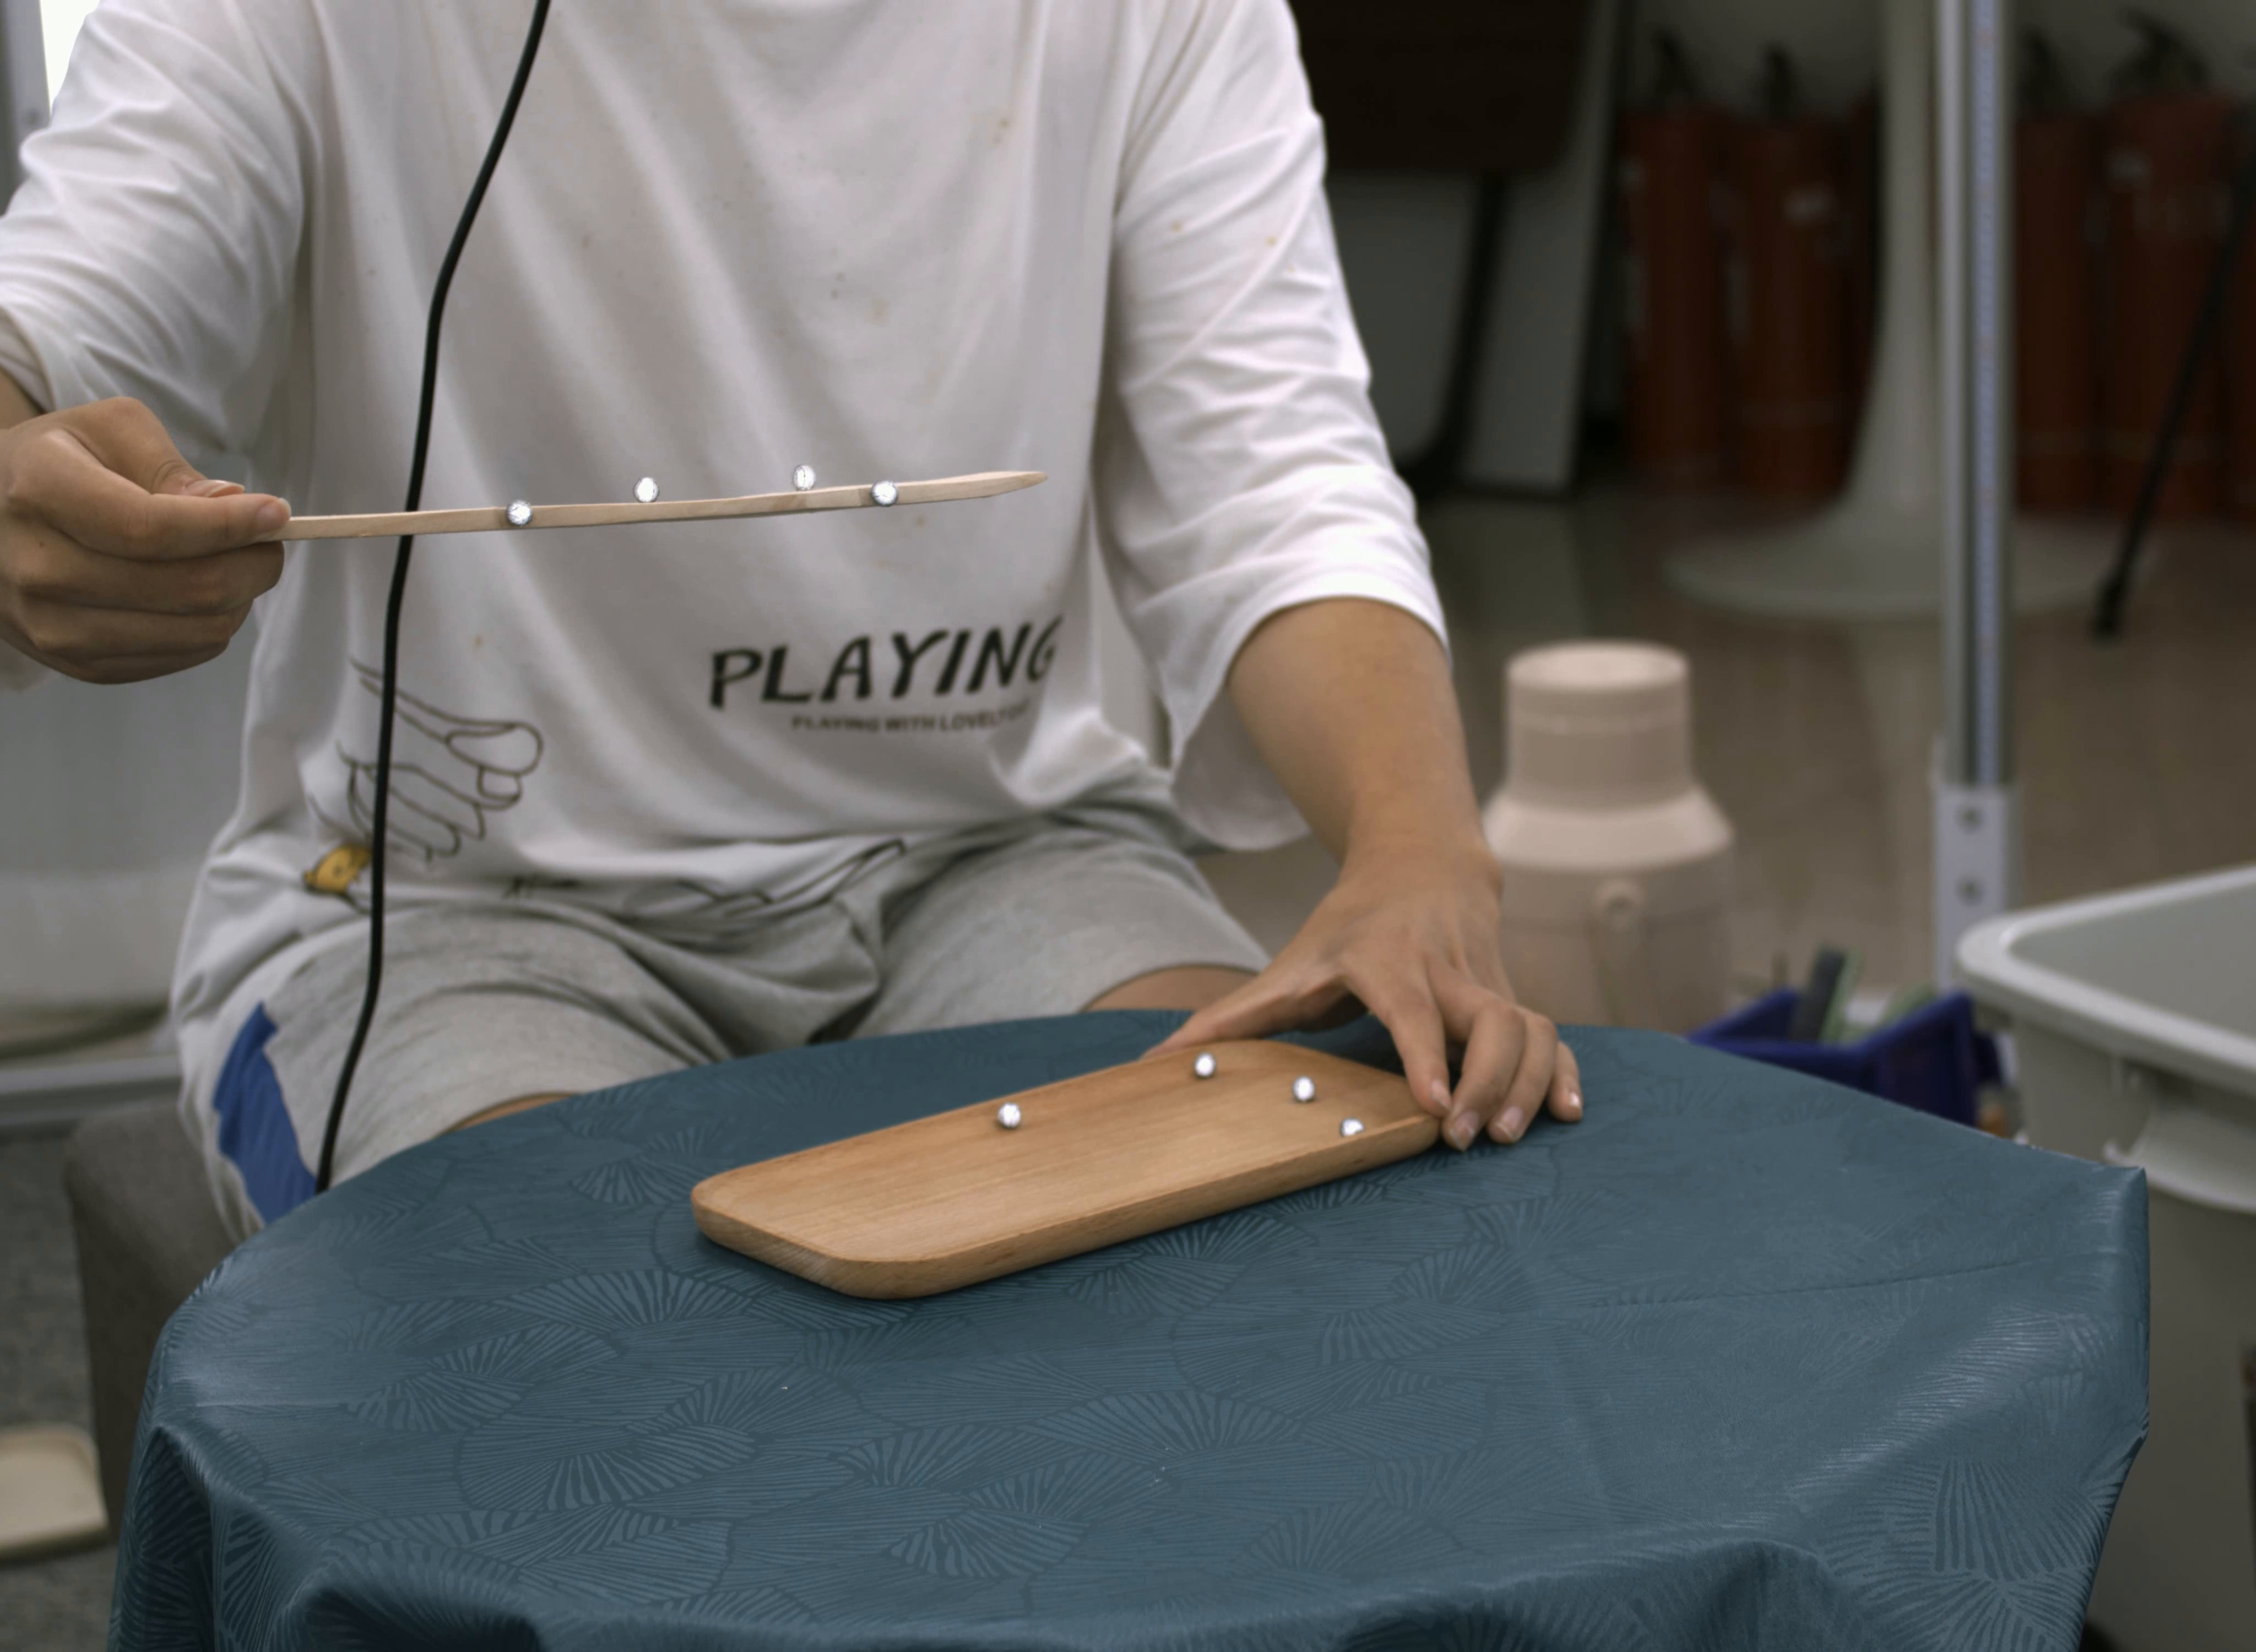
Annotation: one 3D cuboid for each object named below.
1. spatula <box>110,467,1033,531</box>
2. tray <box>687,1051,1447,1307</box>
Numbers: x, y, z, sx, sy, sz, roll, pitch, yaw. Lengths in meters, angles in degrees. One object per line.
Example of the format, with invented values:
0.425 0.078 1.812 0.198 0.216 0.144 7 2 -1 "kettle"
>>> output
-0.172 -0.100 1.682 0.286 0.011 0.073 -4 3 -23 "spatula"
-0.018 0.115 1.780 0.245 0.023 0.132 -13 14 -33 "tray"
